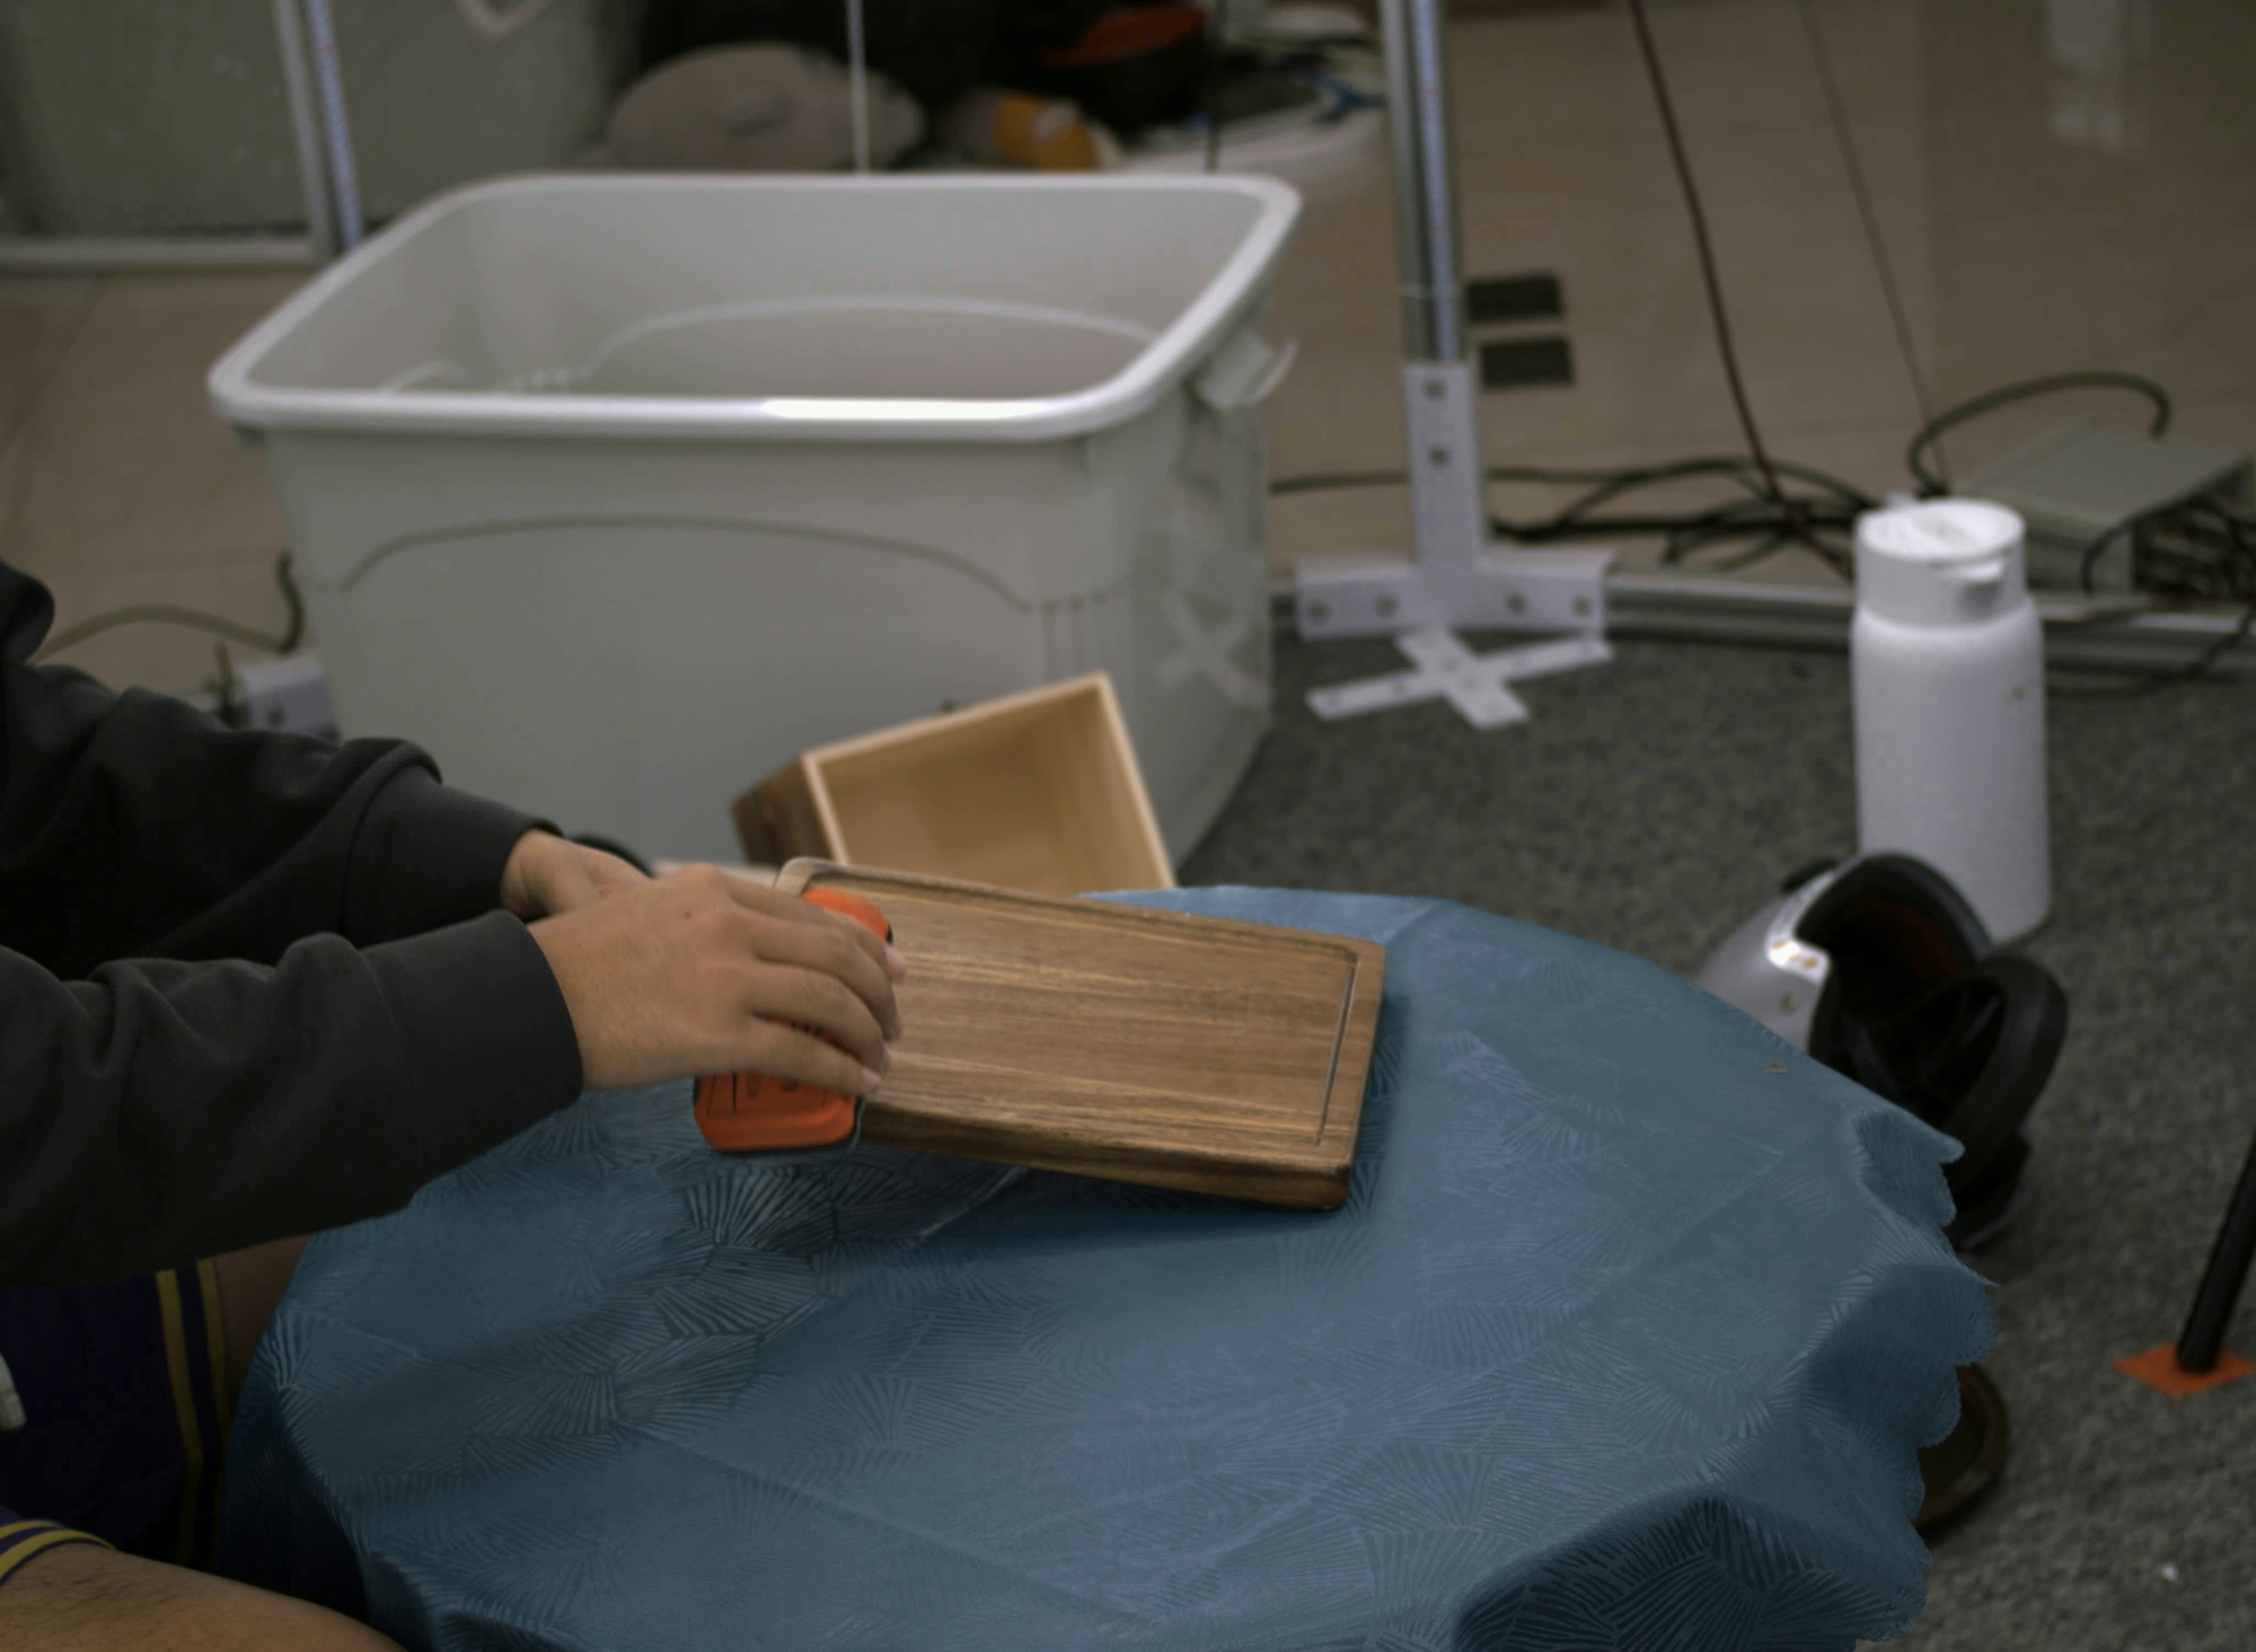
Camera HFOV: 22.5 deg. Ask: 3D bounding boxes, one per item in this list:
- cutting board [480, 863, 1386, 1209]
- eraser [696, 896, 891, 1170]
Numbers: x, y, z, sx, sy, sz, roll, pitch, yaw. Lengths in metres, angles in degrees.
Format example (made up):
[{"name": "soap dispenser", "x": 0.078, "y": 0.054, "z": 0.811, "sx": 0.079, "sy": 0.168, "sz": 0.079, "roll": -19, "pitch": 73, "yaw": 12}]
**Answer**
[{"name": "cutting board", "x": -0.078, "y": 0.072, "z": 2.206, "sx": 0.351, "sy": 0.023, "sz": 0.198, "roll": 8, "pitch": 26, "yaw": 4}, {"name": "eraser", "x": -0.122, "y": 0.075, "z": 2.070, "sx": 0.059, "sy": 0.023, "sz": 0.106, "roll": -4, "pitch": 52, "yaw": 16}]
